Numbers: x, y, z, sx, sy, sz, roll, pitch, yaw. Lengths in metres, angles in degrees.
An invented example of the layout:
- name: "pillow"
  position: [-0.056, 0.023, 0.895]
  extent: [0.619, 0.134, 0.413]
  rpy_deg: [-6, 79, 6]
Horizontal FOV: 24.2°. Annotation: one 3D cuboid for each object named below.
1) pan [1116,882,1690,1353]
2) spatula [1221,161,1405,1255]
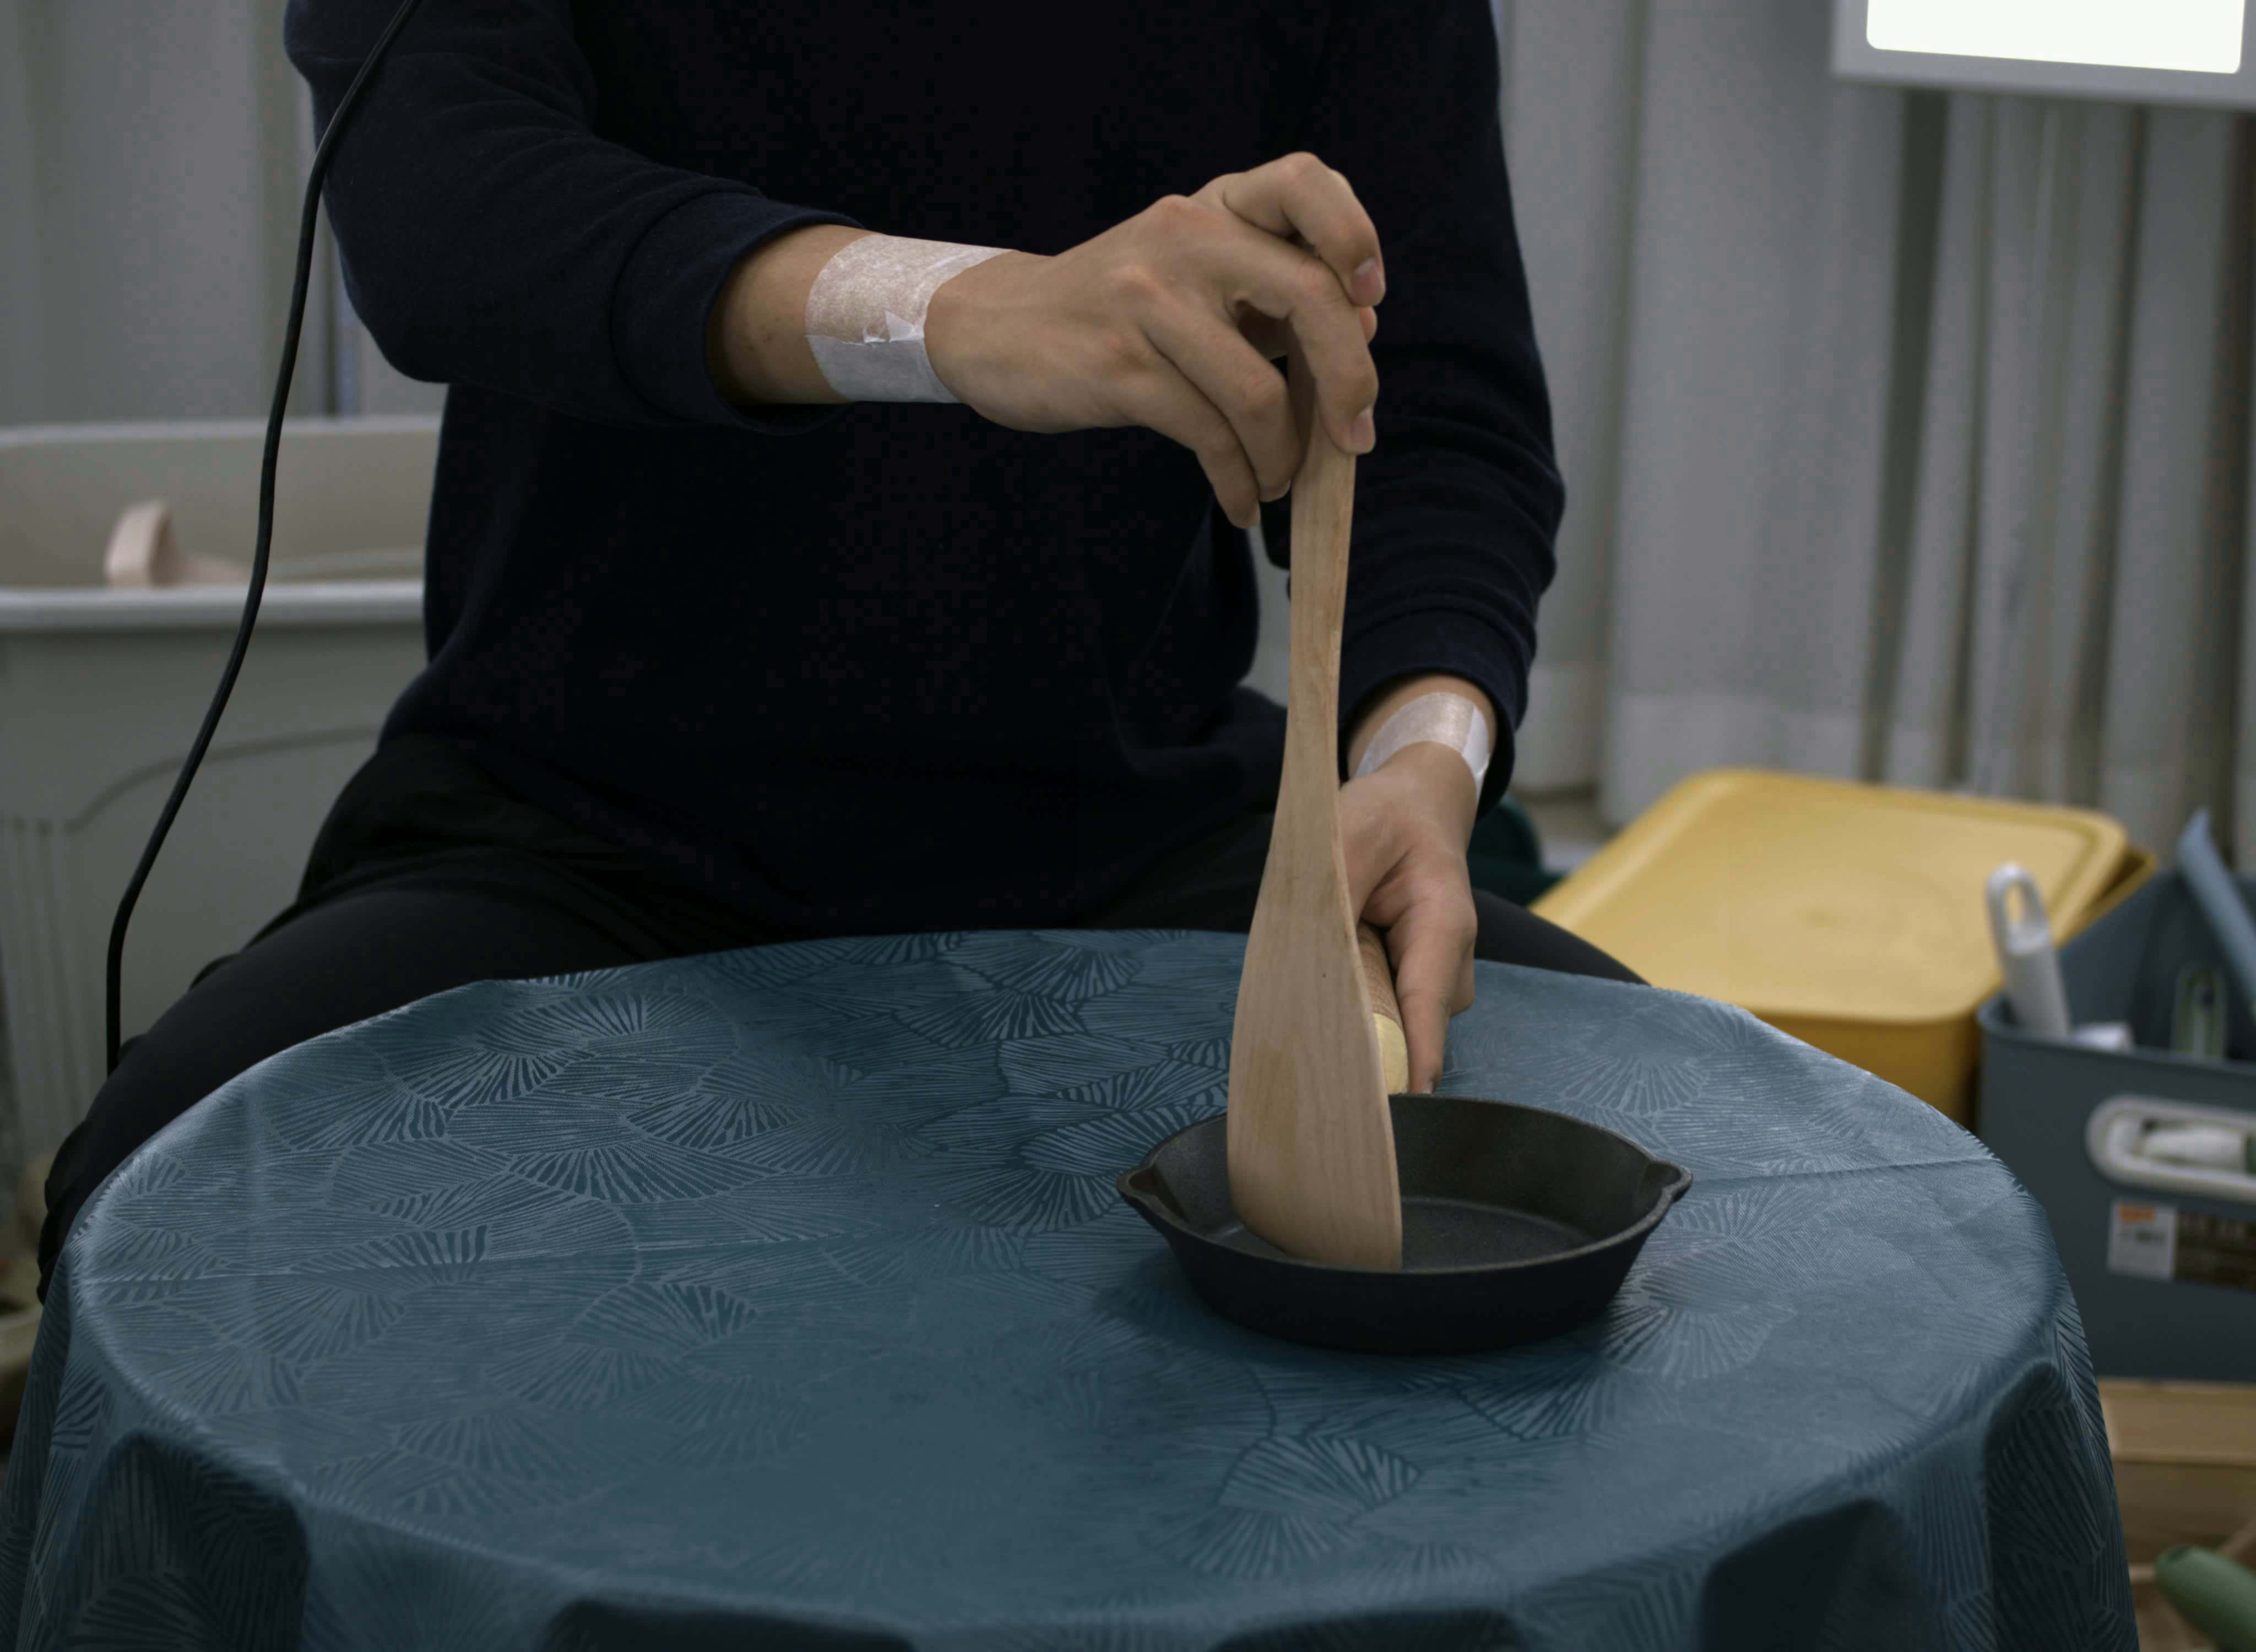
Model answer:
- name: "pan"
  position: [0.079, 0.086, 1.623]
  extent: [0.168, 0.050, 0.322]
  rpy_deg: [0, 17, -1]
- name: "spatula"
  position: [0.056, -0.026, 1.522]
  extent: [0.016, 0.329, 0.079]
  rpy_deg: [-4, 9, -39]
